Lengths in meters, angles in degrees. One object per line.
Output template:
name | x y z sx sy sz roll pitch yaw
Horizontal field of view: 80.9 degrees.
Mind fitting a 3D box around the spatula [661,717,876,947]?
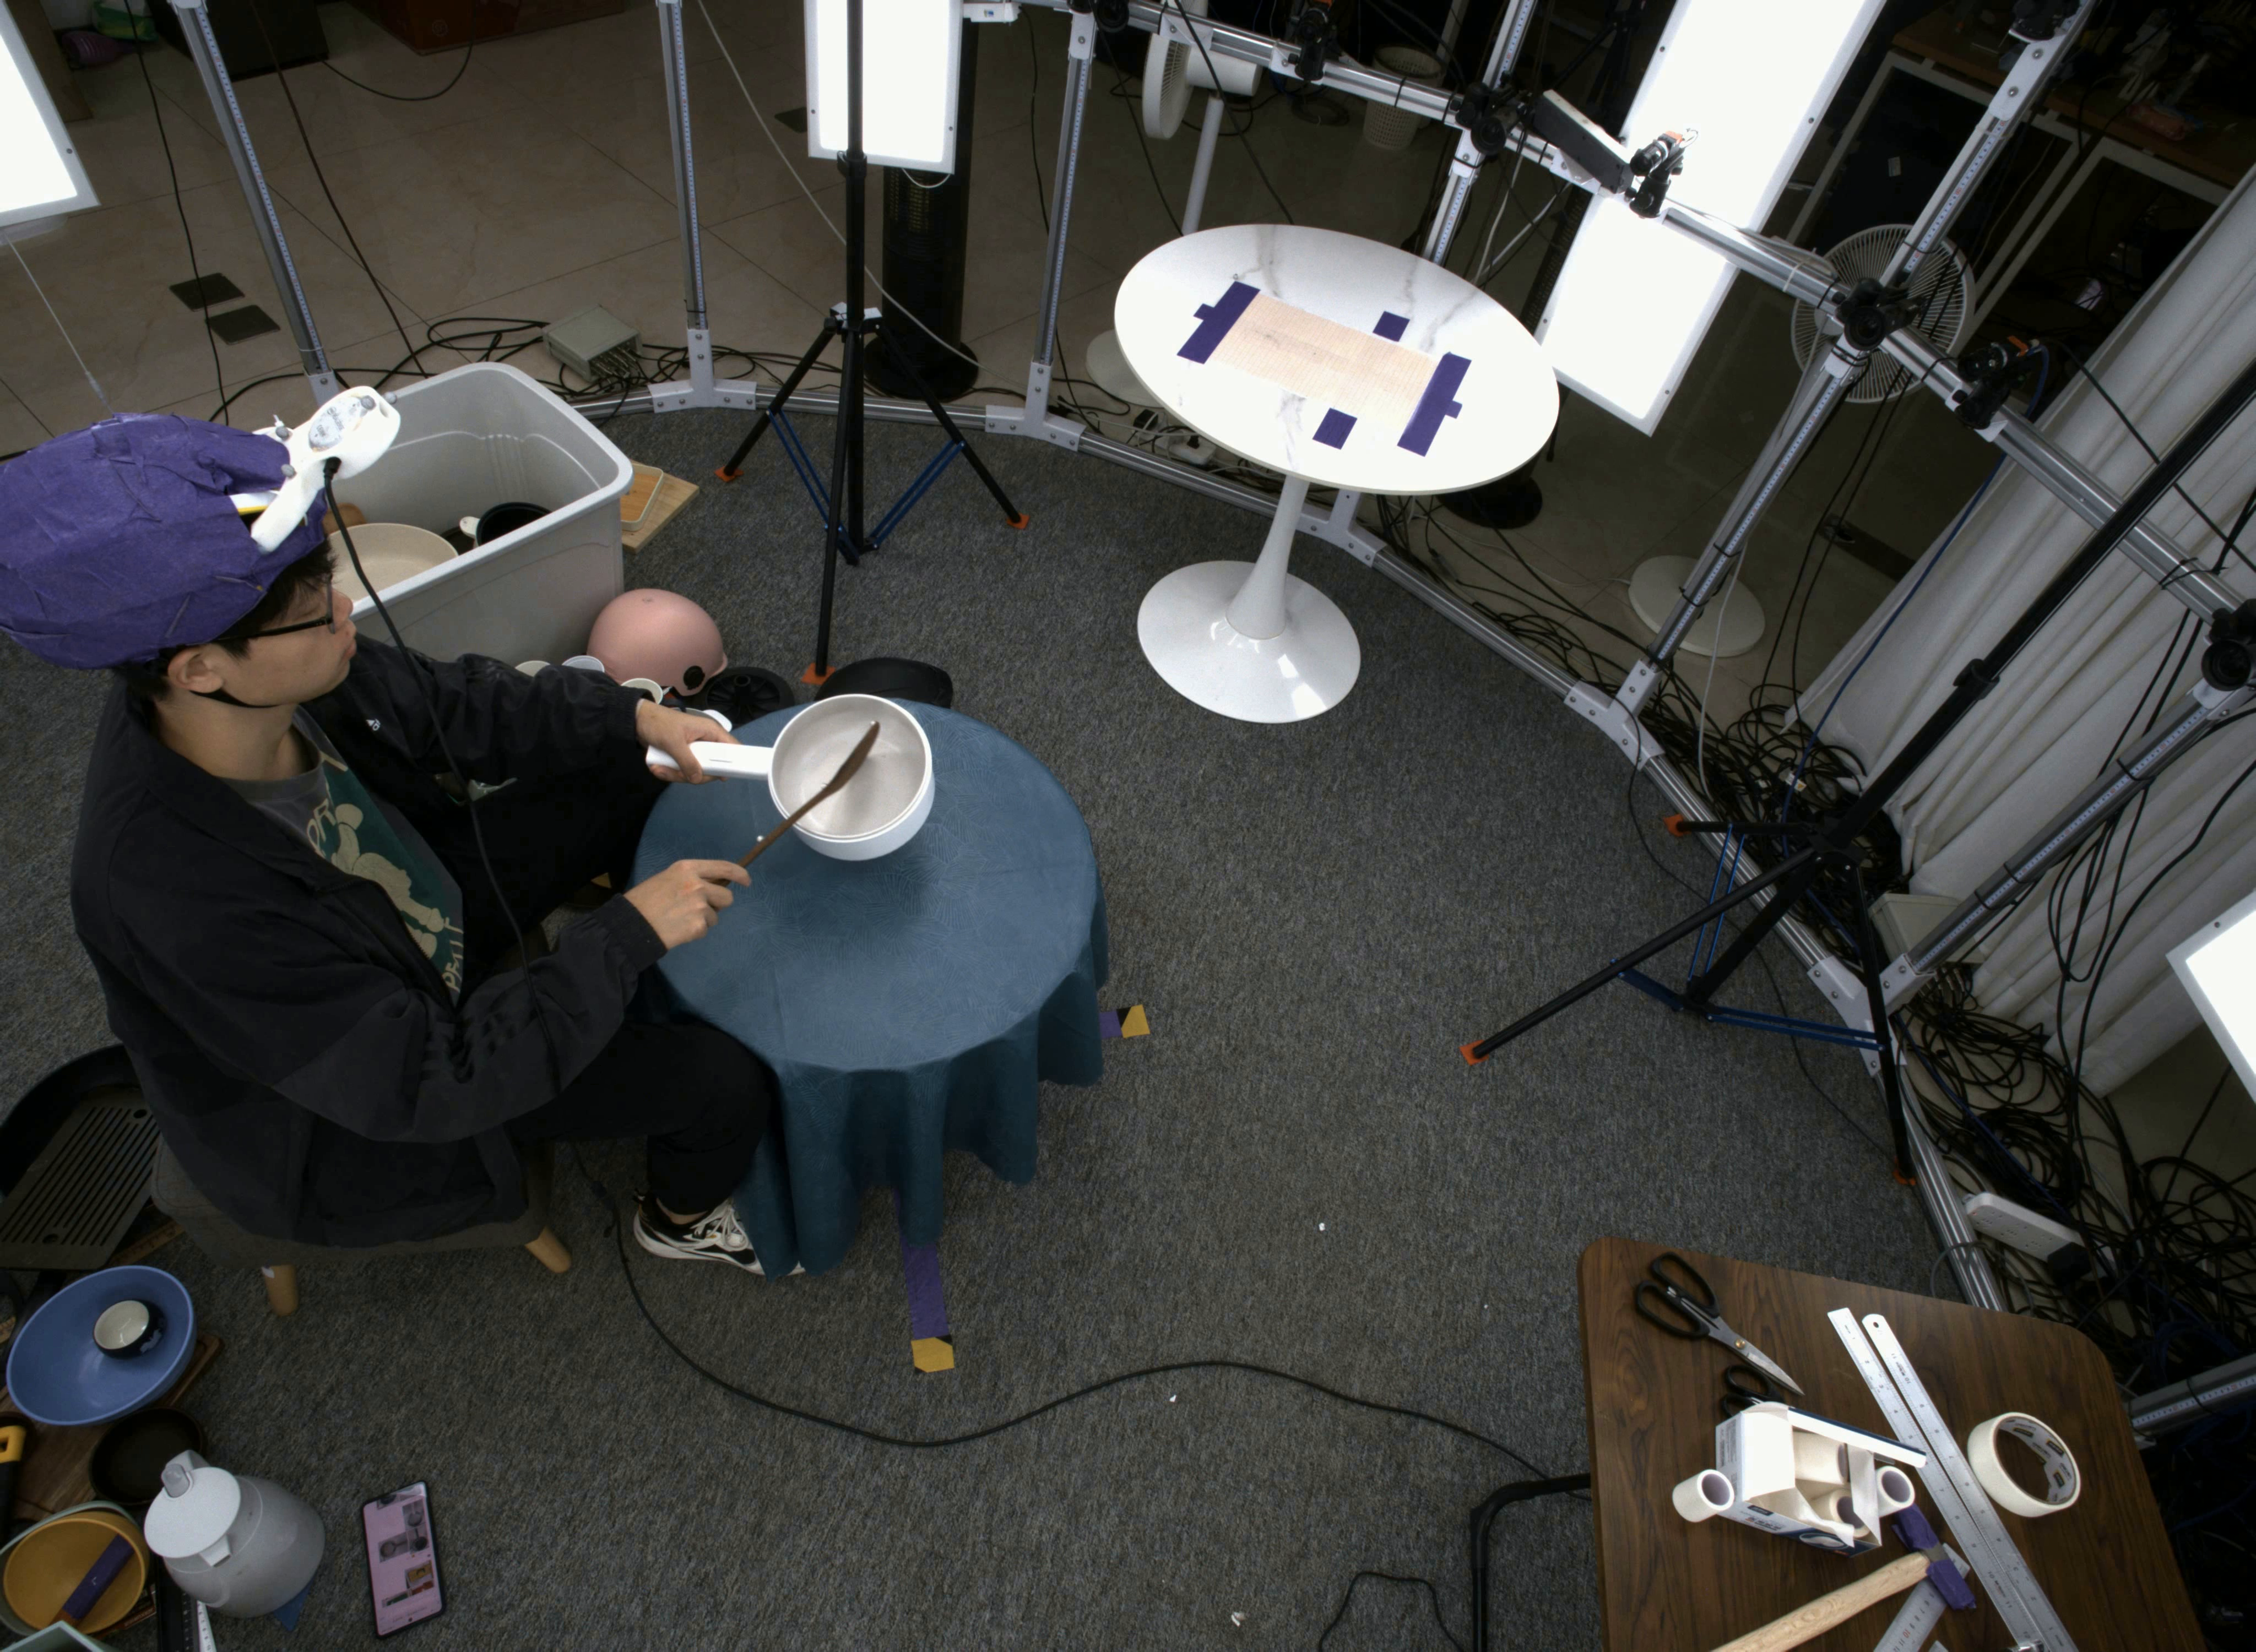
spatula | -0.415 0.003 1.513 0.016 0.096 0.385 38 53 0

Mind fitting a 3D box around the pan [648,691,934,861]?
pan | -0.420 -0.064 1.633 0.351 0.104 0.200 5 70 0
